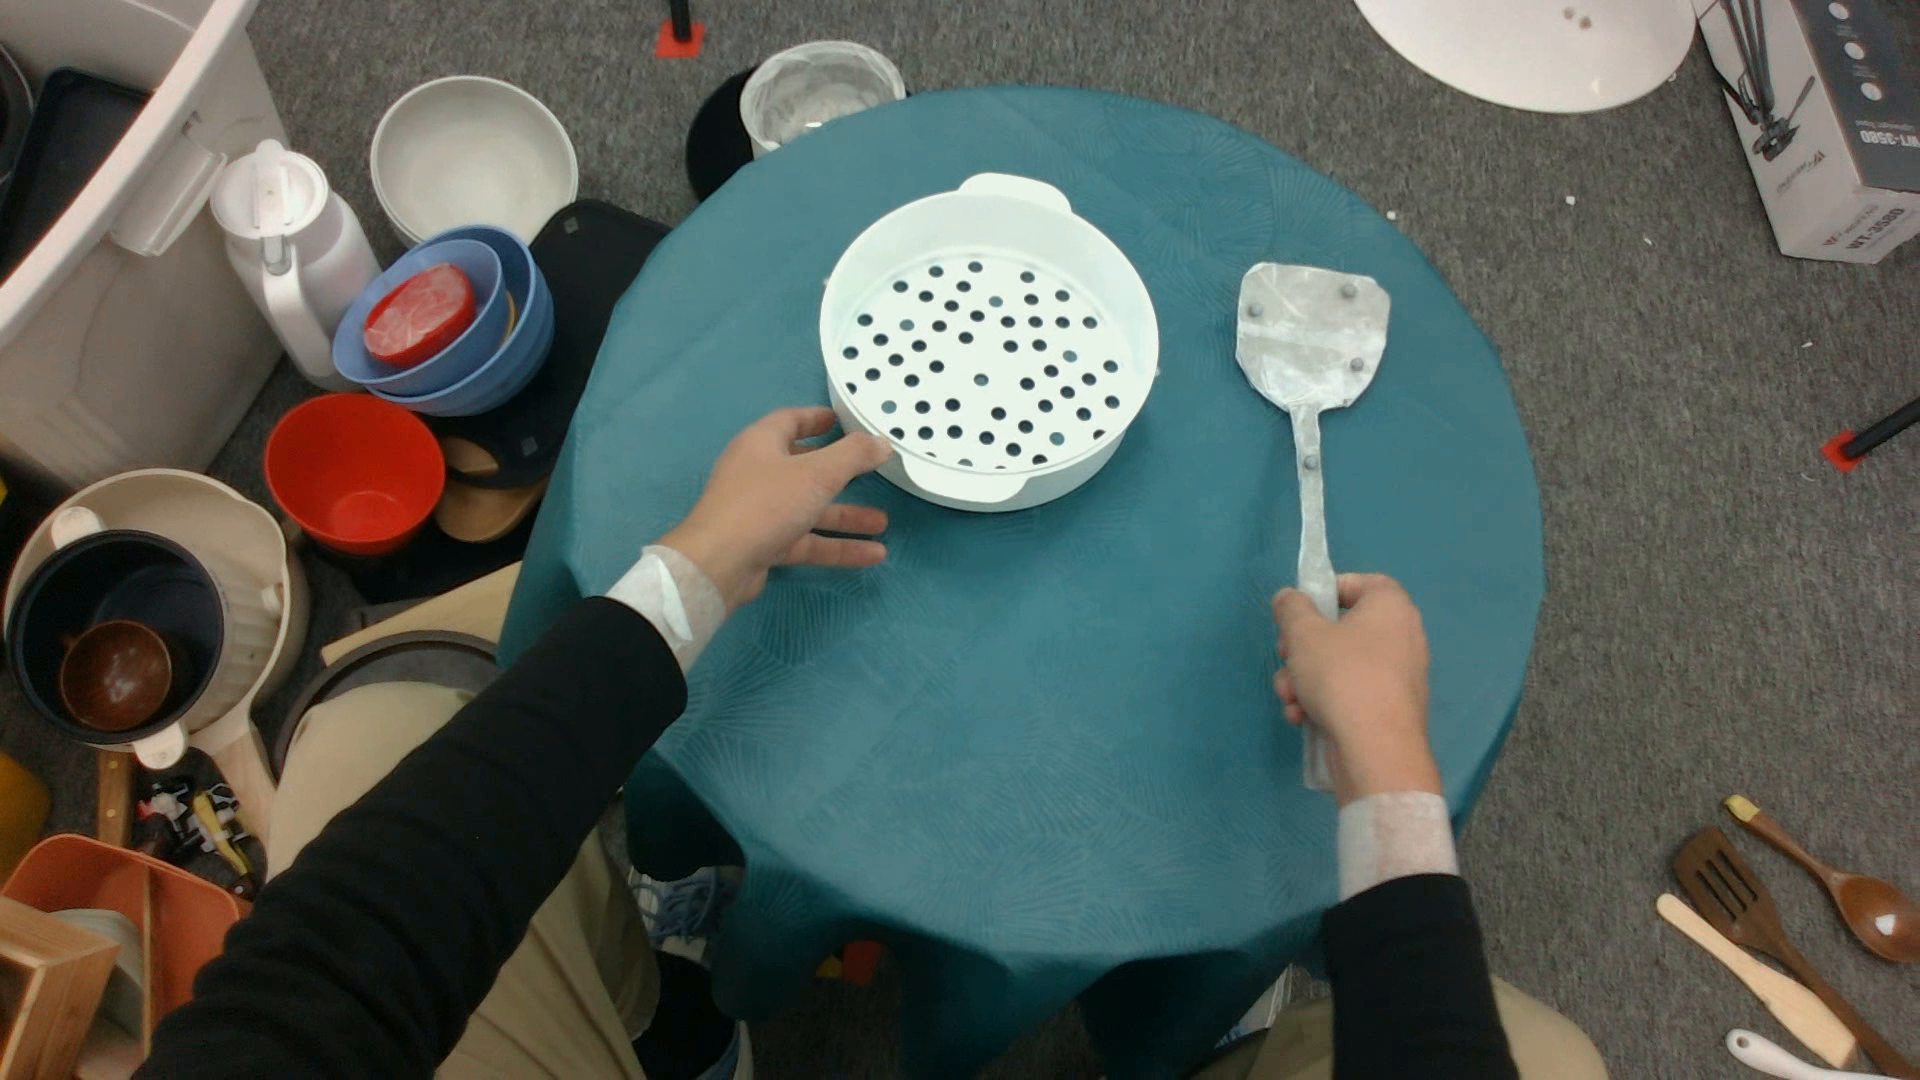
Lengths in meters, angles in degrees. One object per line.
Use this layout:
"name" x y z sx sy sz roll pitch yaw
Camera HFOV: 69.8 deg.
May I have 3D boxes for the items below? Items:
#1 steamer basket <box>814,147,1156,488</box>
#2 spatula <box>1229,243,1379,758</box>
"steamer basket" 0.014 -0.128 0.837 0.202 0.069 0.231 11 66 0
"spatula" 0.201 -0.039 0.806 0.099 0.044 0.366 11 51 -1
